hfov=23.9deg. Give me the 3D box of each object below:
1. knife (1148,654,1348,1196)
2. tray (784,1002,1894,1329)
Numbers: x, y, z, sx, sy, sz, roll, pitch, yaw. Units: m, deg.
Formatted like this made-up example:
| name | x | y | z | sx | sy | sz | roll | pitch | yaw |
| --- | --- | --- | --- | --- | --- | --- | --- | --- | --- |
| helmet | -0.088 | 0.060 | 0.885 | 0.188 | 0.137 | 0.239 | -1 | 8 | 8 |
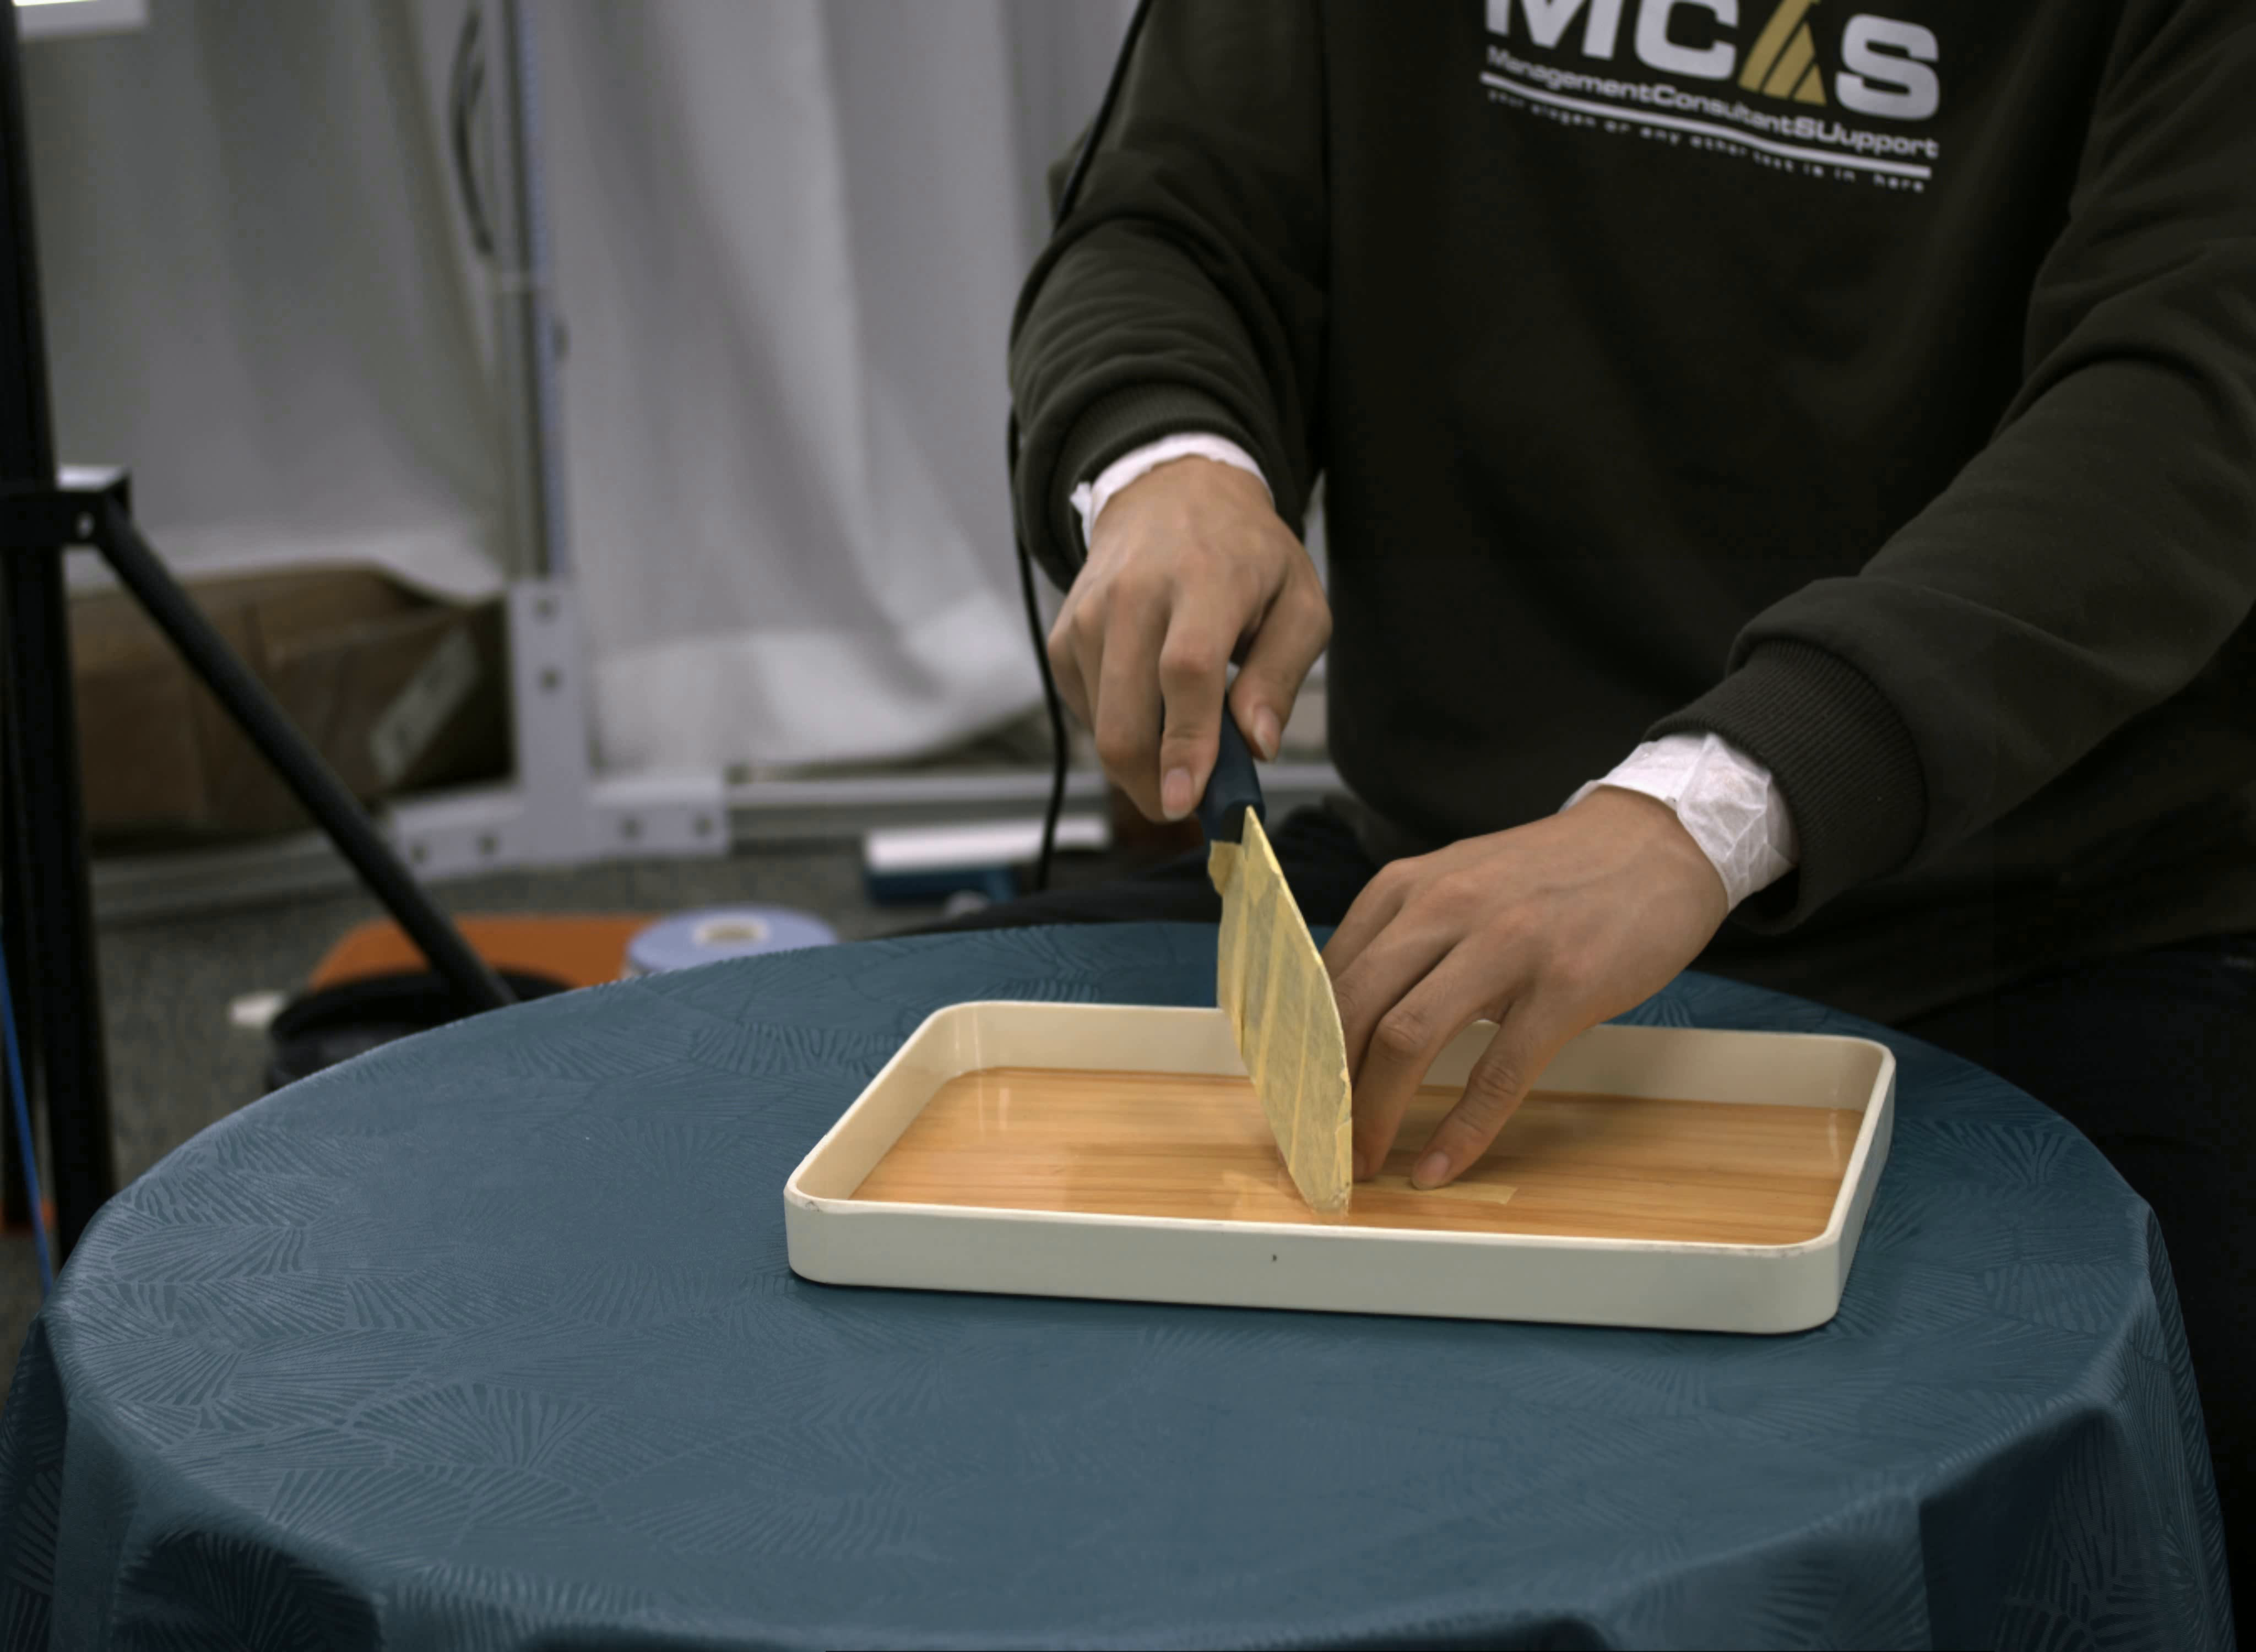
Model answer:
| name | x | y | z | sx | sy | sz | roll | pitch | yaw |
| --- | --- | --- | --- | --- | --- | --- | --- | --- | --- |
| knife | 0.037 | 0.030 | 1.595 | 0.027 | 0.081 | 0.293 | 3 | 29 | -12 |
| tray | 0.066 | 0.097 | 1.543 | 0.302 | 0.027 | 0.190 | 2 | 15 | 15 |
